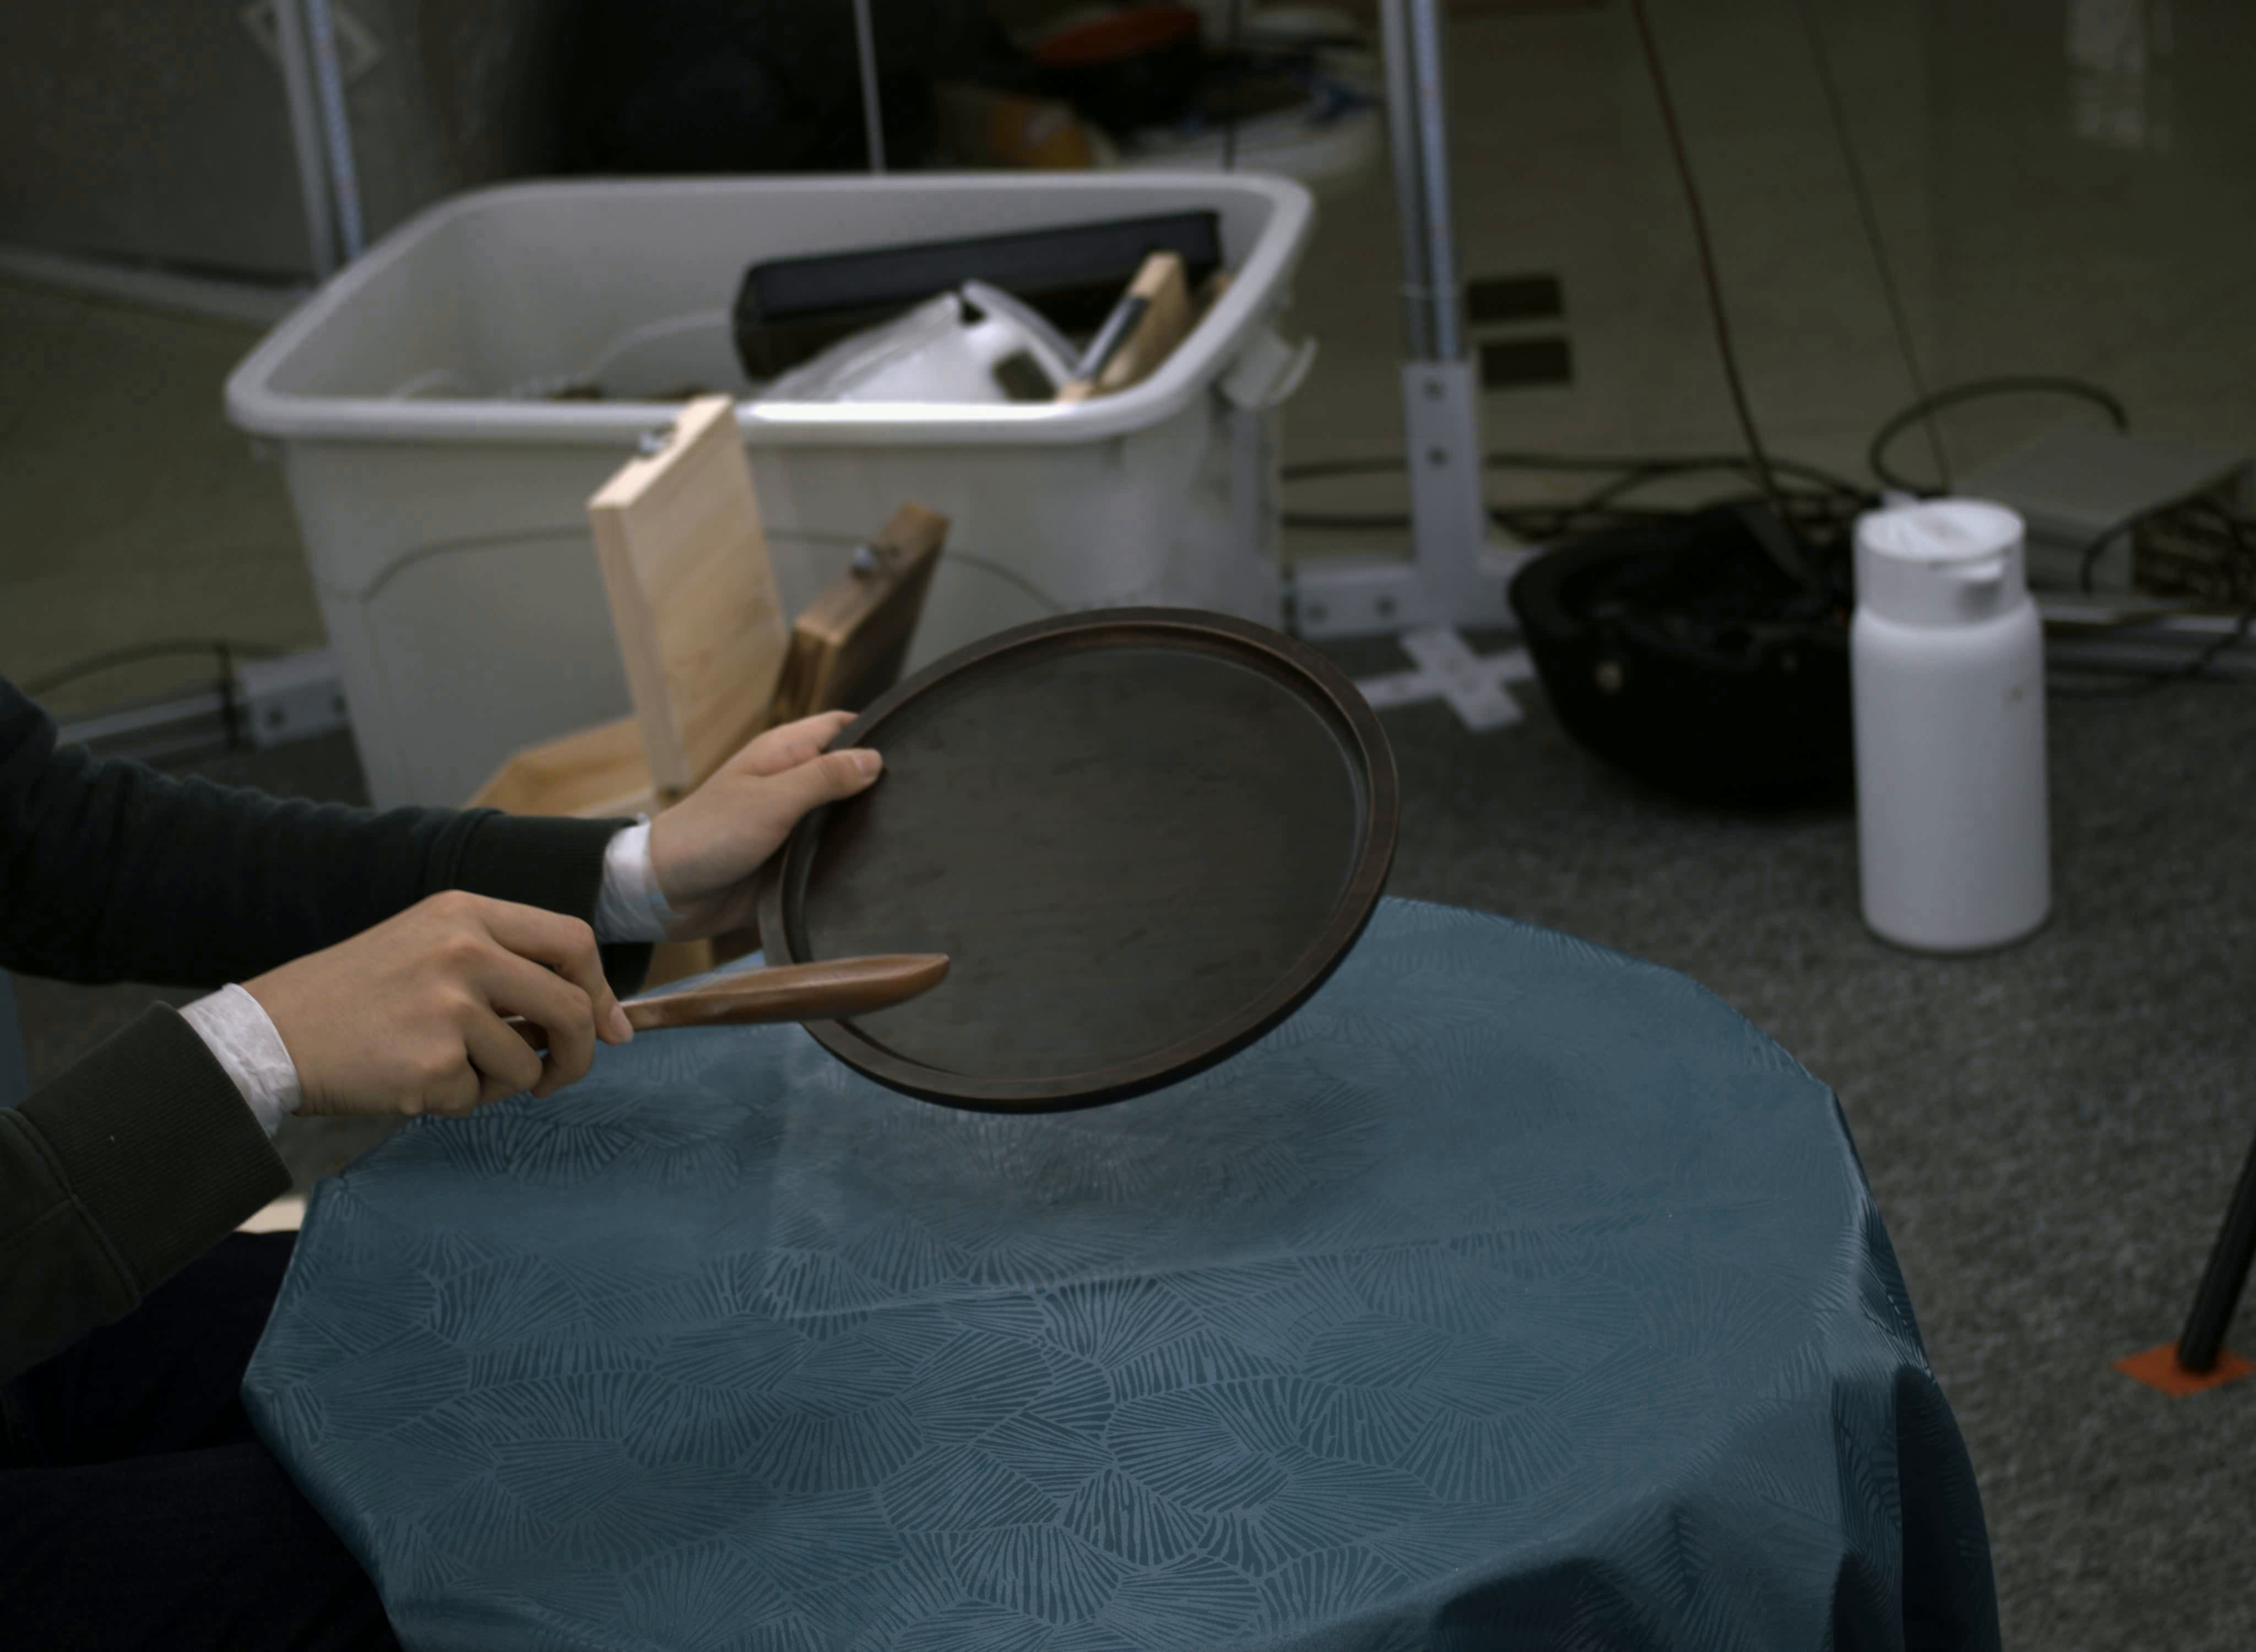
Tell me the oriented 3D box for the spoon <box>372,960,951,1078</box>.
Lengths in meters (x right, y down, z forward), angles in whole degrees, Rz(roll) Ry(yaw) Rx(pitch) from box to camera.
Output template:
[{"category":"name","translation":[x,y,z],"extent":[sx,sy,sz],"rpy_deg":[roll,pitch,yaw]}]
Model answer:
[{"category":"spoon","translation":[-0.158,0.066,1.935],"extent":[0.215,0.017,0.075],"rpy_deg":[-7,7,-31]}]

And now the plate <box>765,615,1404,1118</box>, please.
[{"category":"plate","translation":[-0.017,0.014,2.167],"extent":[0.254,0.029,0.250],"rpy_deg":[-9,46,9]}]
